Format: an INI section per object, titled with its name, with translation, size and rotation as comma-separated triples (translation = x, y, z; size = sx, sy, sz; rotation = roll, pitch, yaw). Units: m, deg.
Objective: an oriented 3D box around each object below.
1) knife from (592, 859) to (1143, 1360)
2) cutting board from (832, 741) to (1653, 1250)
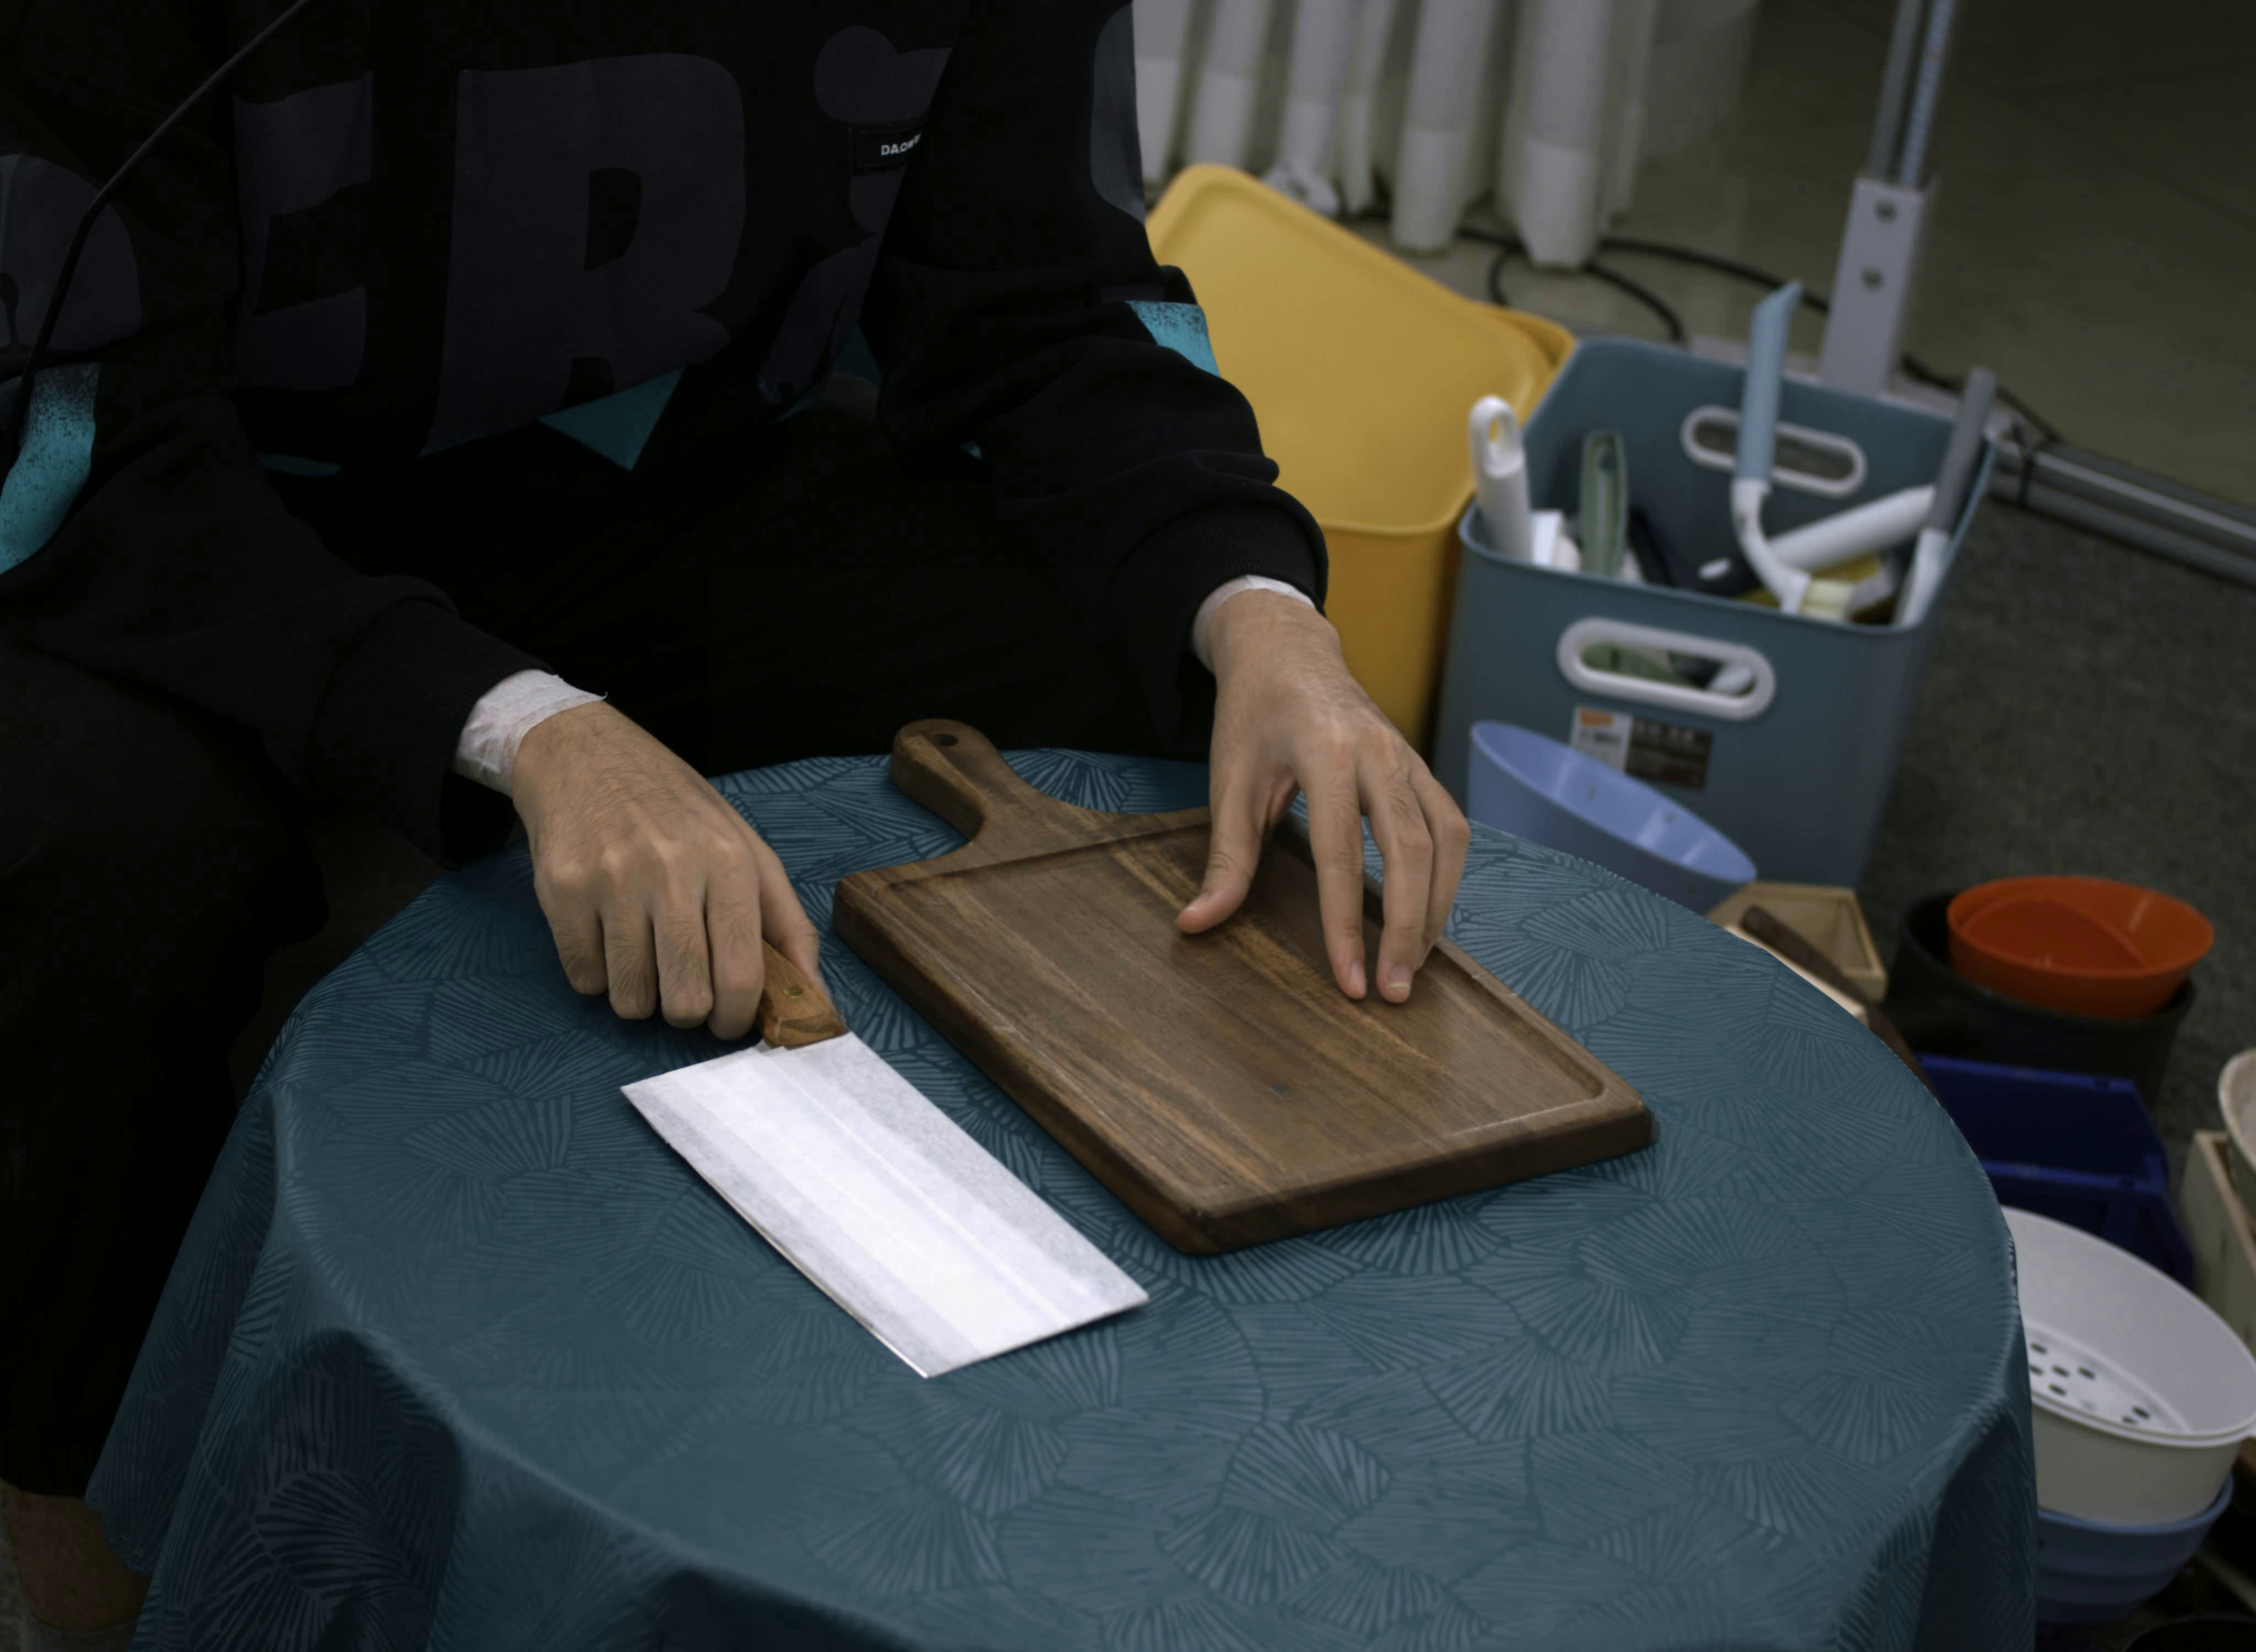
[knife]
translation = -0.115, 0.096, 1.815
size = 0.092, 0.021, 0.308
rotation = -17, 37, -31
[cutting board]
translation = 0.012, 0.048, 1.938
size = 0.200, 0.023, 0.355
rotation = -10, 29, -31
